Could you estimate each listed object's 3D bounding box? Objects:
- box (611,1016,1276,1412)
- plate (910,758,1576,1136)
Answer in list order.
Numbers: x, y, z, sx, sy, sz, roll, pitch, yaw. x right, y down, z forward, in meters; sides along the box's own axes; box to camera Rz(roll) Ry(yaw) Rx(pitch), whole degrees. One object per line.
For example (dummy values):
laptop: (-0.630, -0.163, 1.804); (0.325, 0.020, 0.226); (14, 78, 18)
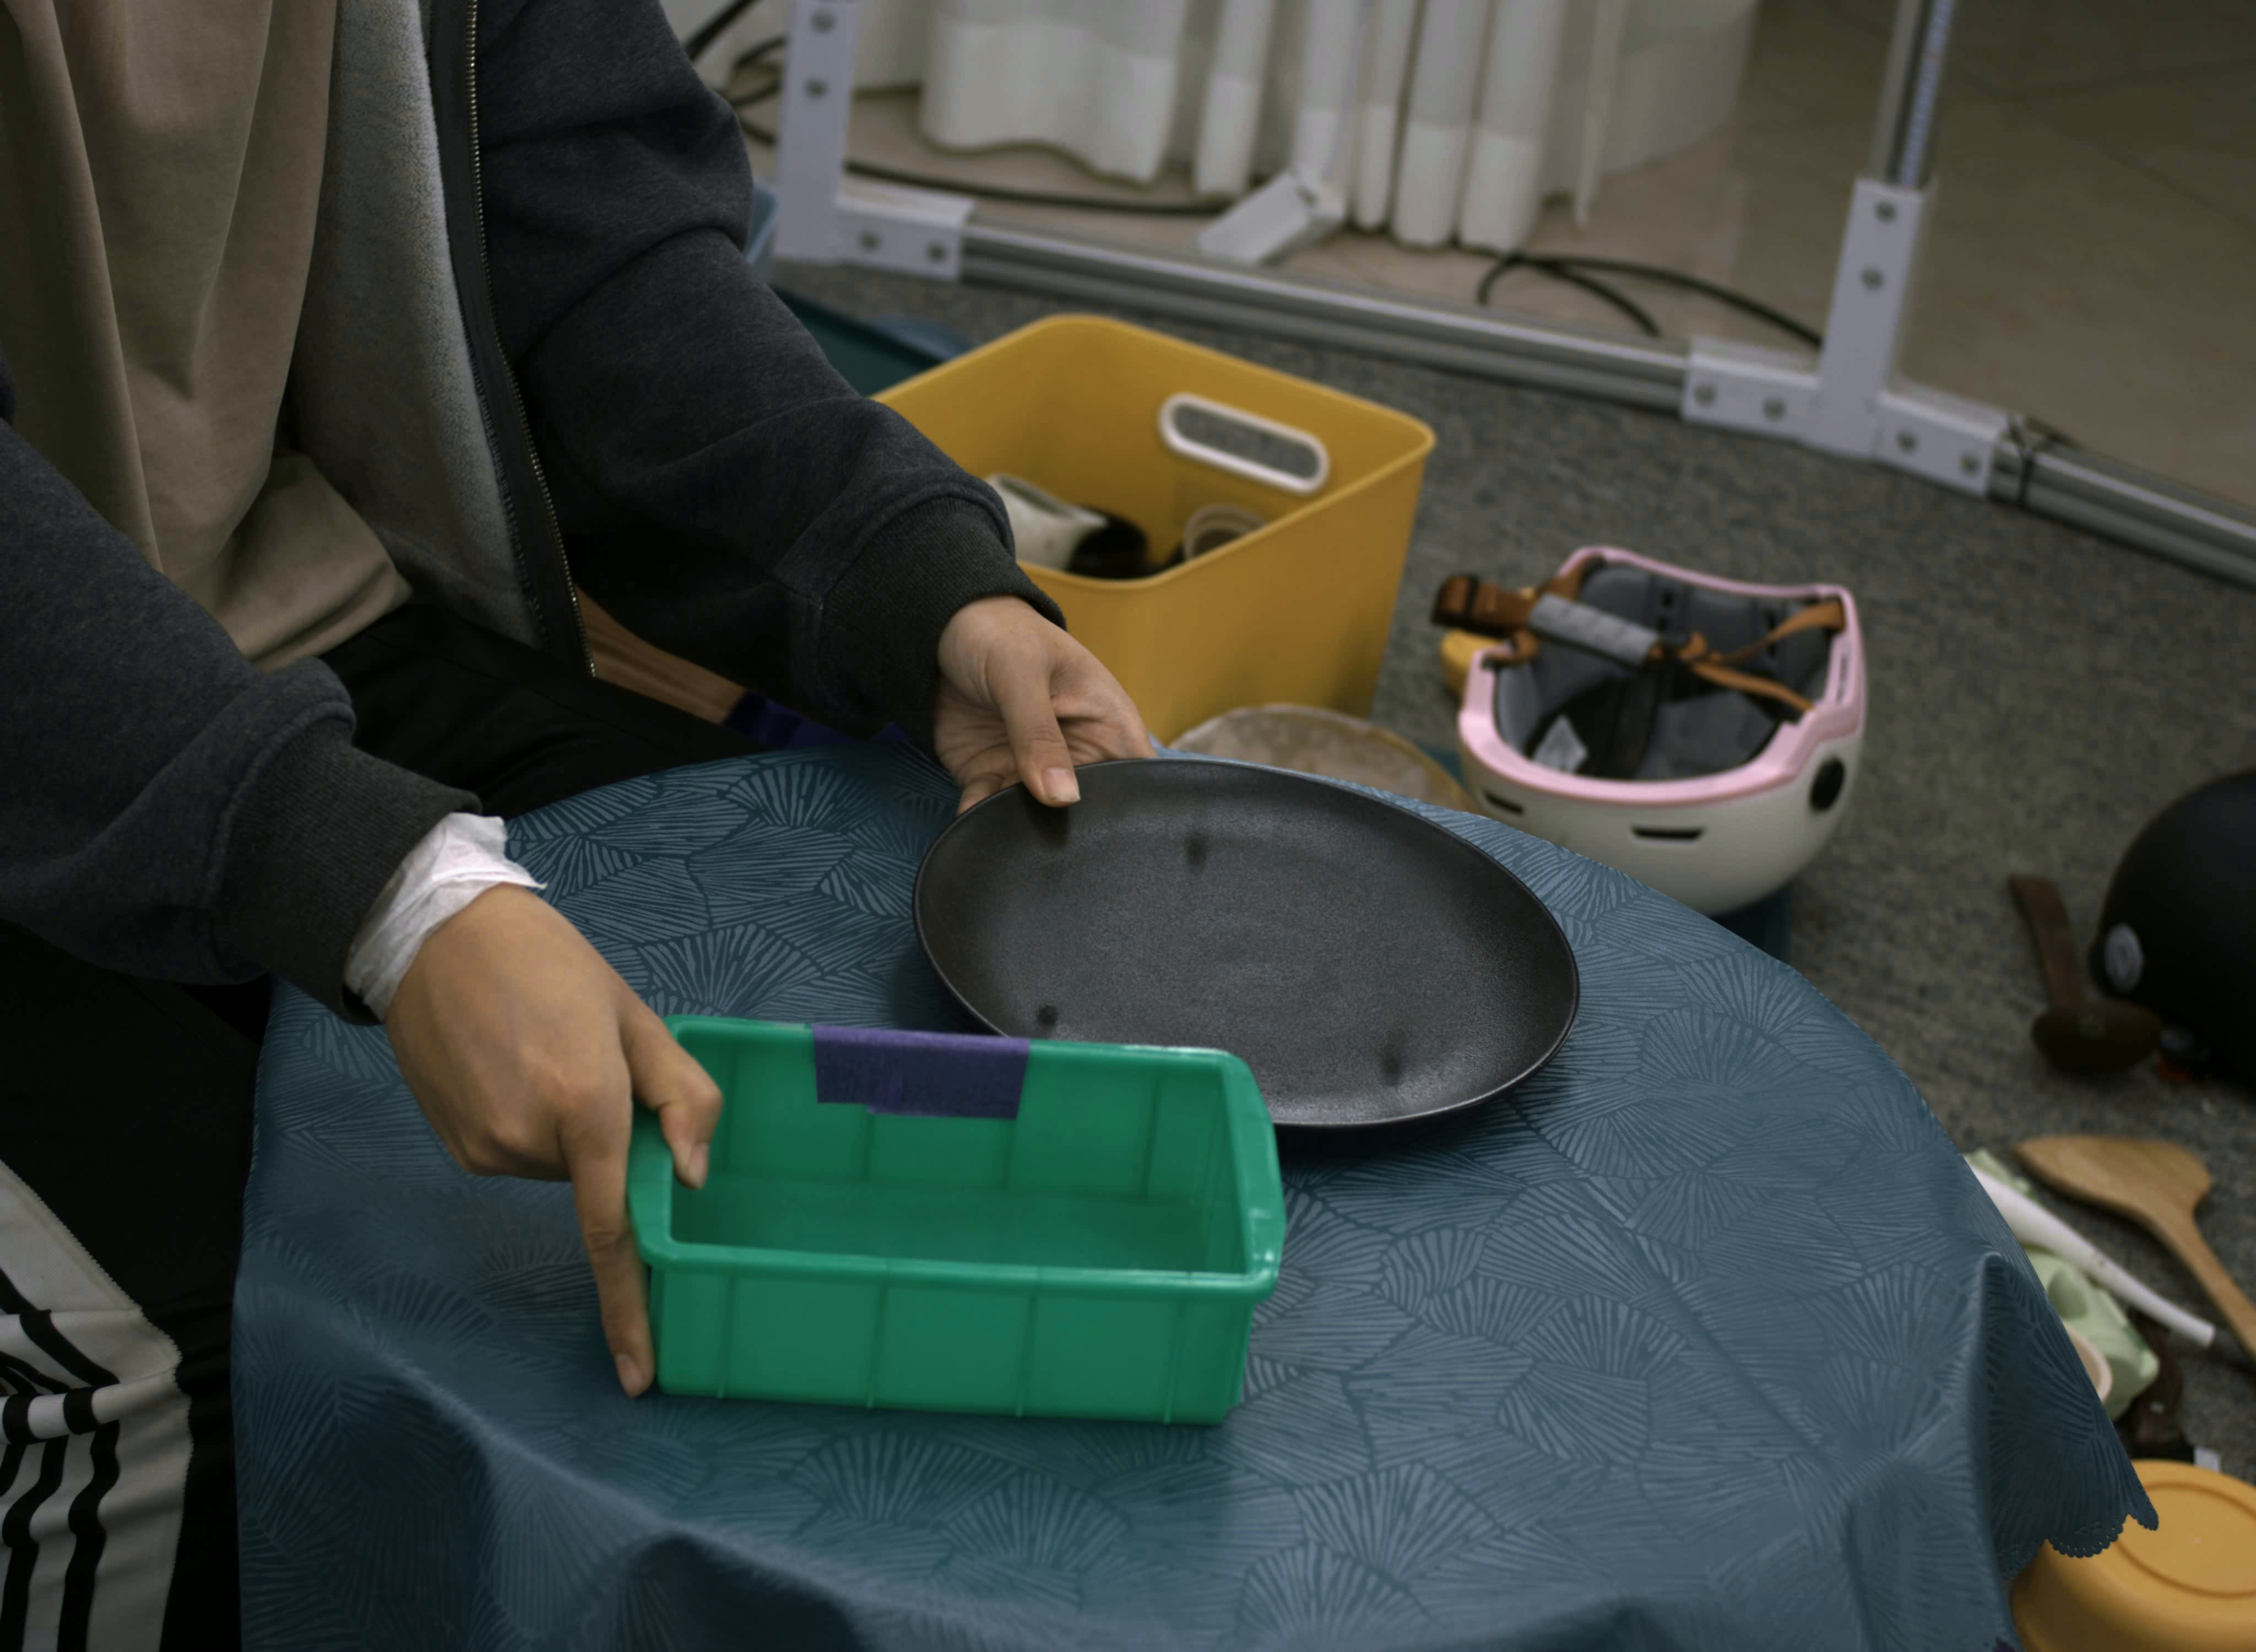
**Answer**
box: (-0.061, 0.126, 1.702); (0.209, 0.065, 0.139); (2, 29, -5)
plate: (0.040, 0.047, 1.920); (0.243, 0.023, 0.246); (7, 31, -4)
